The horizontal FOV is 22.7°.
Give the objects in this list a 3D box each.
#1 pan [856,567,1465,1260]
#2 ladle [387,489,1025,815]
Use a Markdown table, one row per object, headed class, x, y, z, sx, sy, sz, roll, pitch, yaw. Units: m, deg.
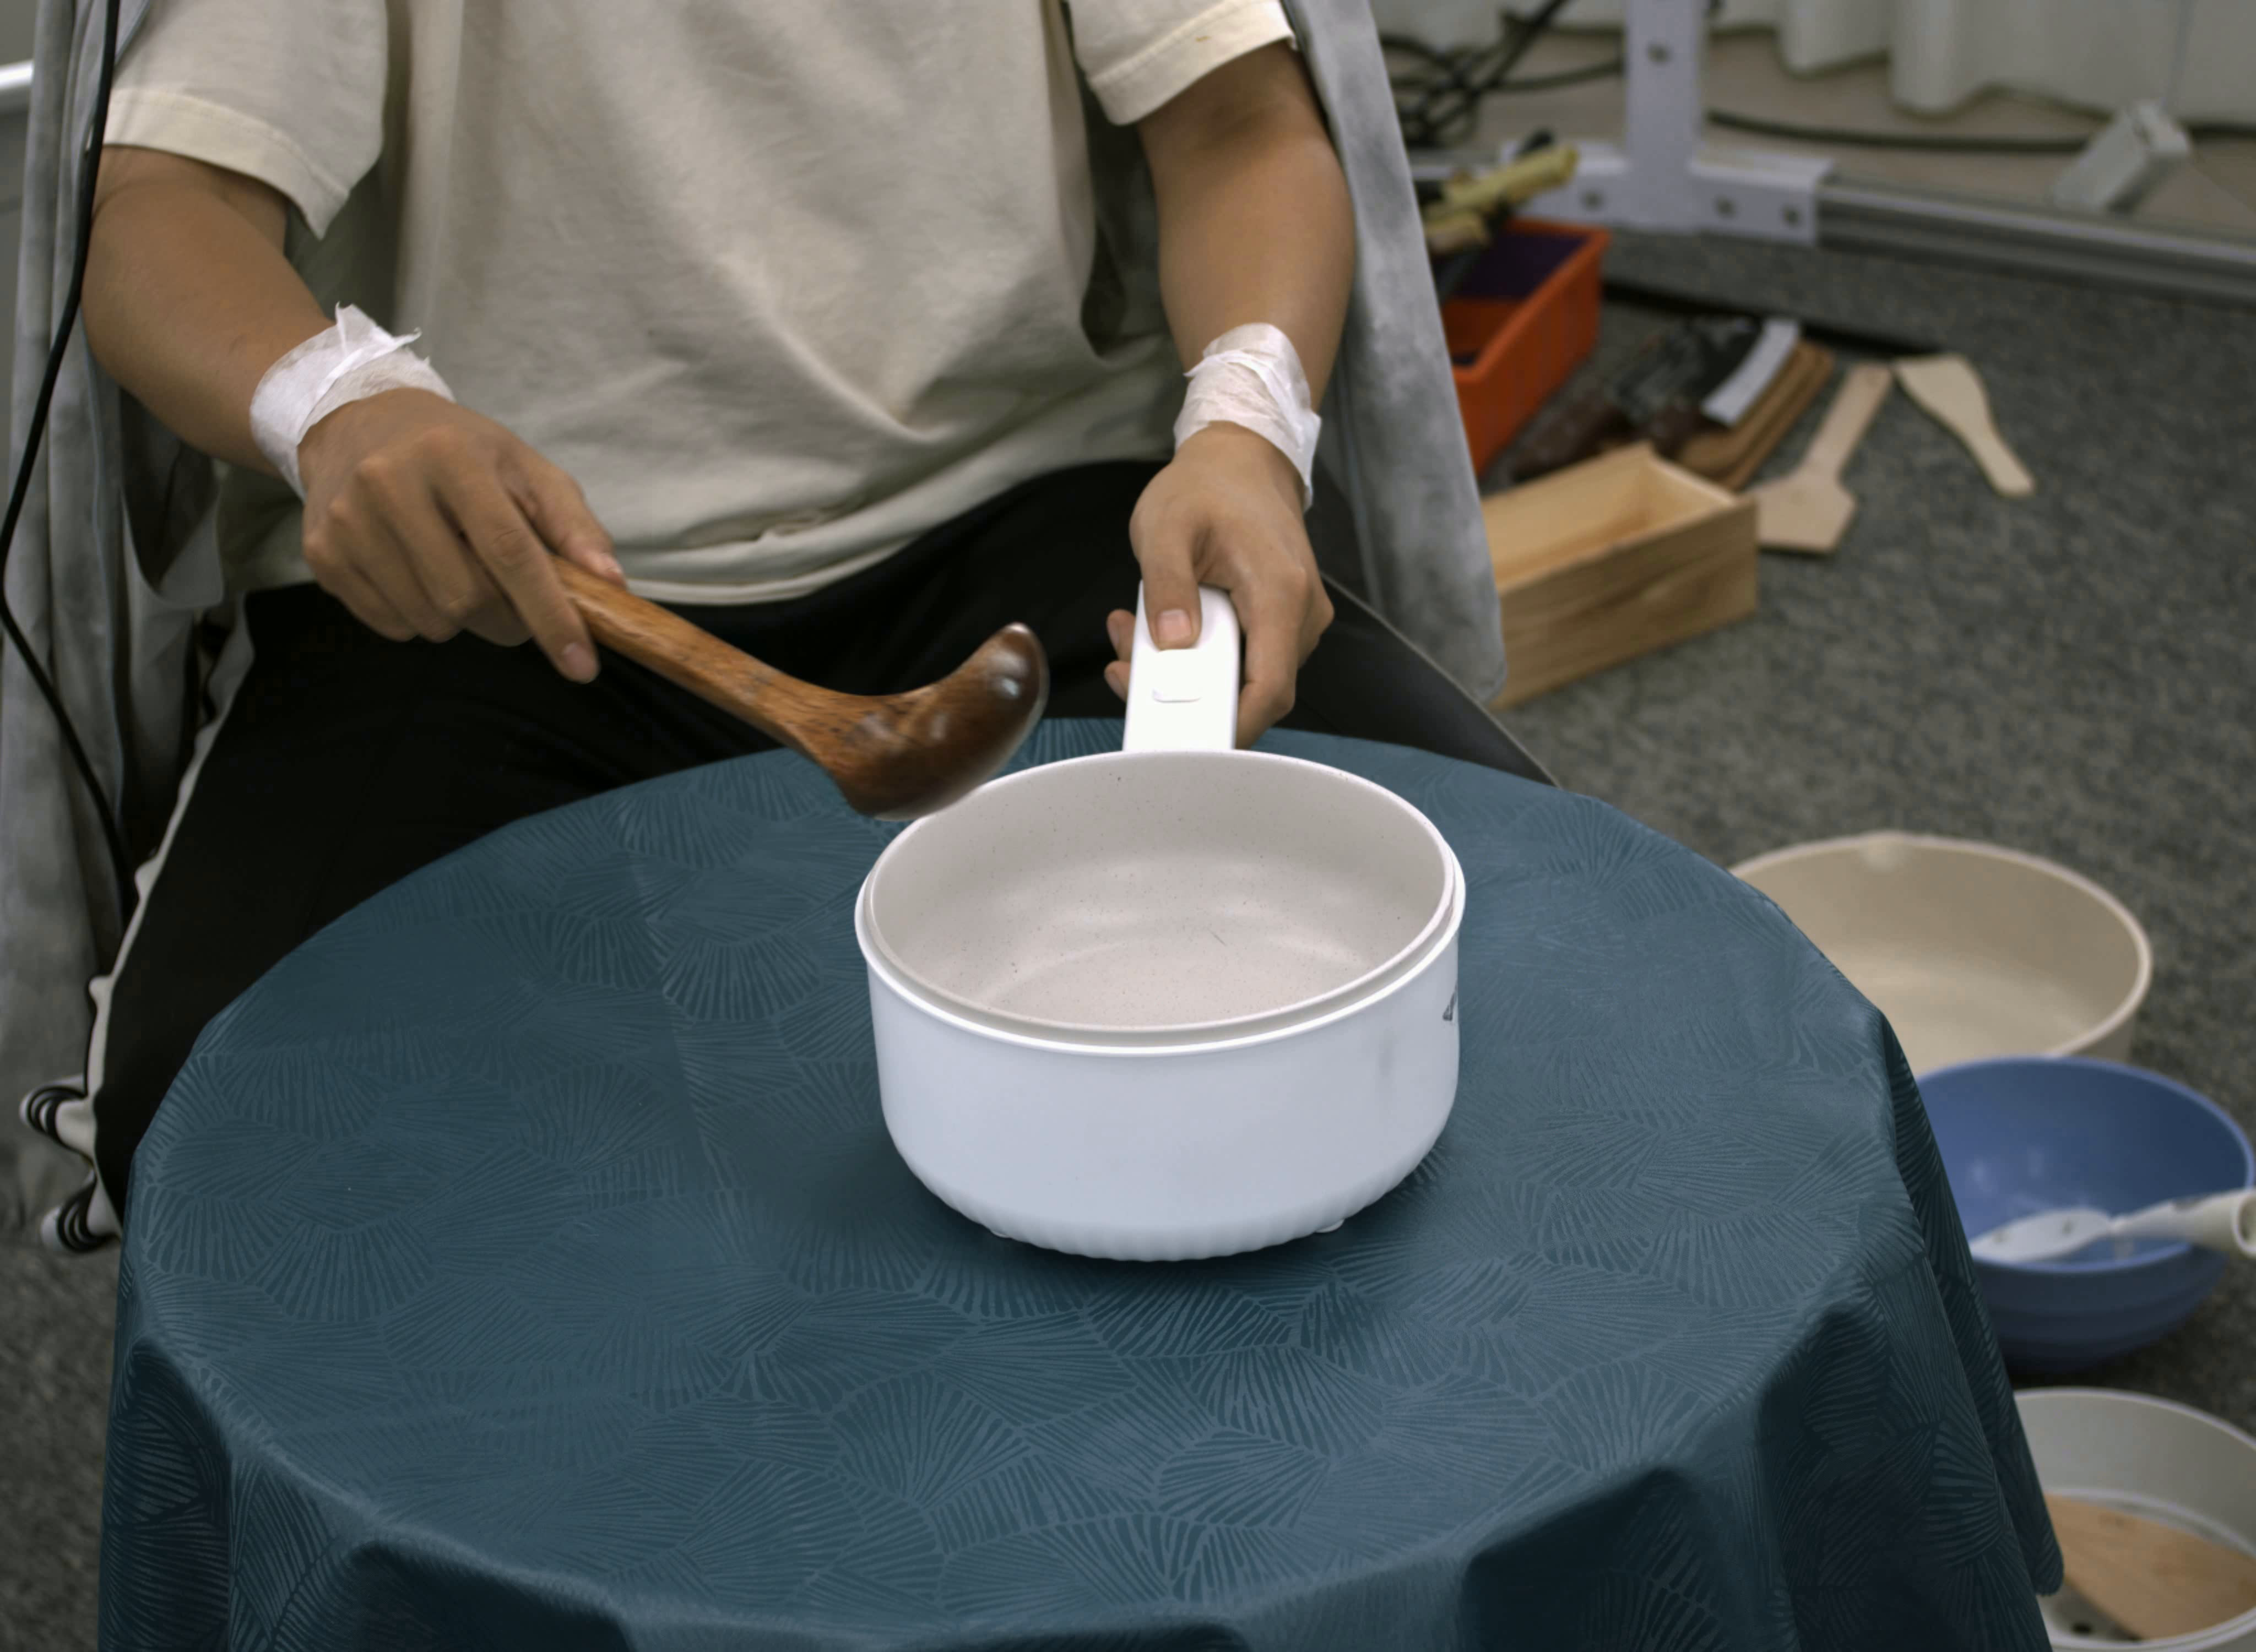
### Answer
| class | x | y | z | sx | sy | sz | roll | pitch | yaw |
| --- | --- | --- | --- | --- | --- | --- | --- | --- | --- |
| pan | 0.018 | 0.027 | 1.934 | 0.200 | 0.101 | 0.360 | -1 | 27 | 5 |
| ladle | -0.147 | -0.075 | 1.827 | 0.274 | 0.075 | 0.083 | 29 | 44 | 31 |
